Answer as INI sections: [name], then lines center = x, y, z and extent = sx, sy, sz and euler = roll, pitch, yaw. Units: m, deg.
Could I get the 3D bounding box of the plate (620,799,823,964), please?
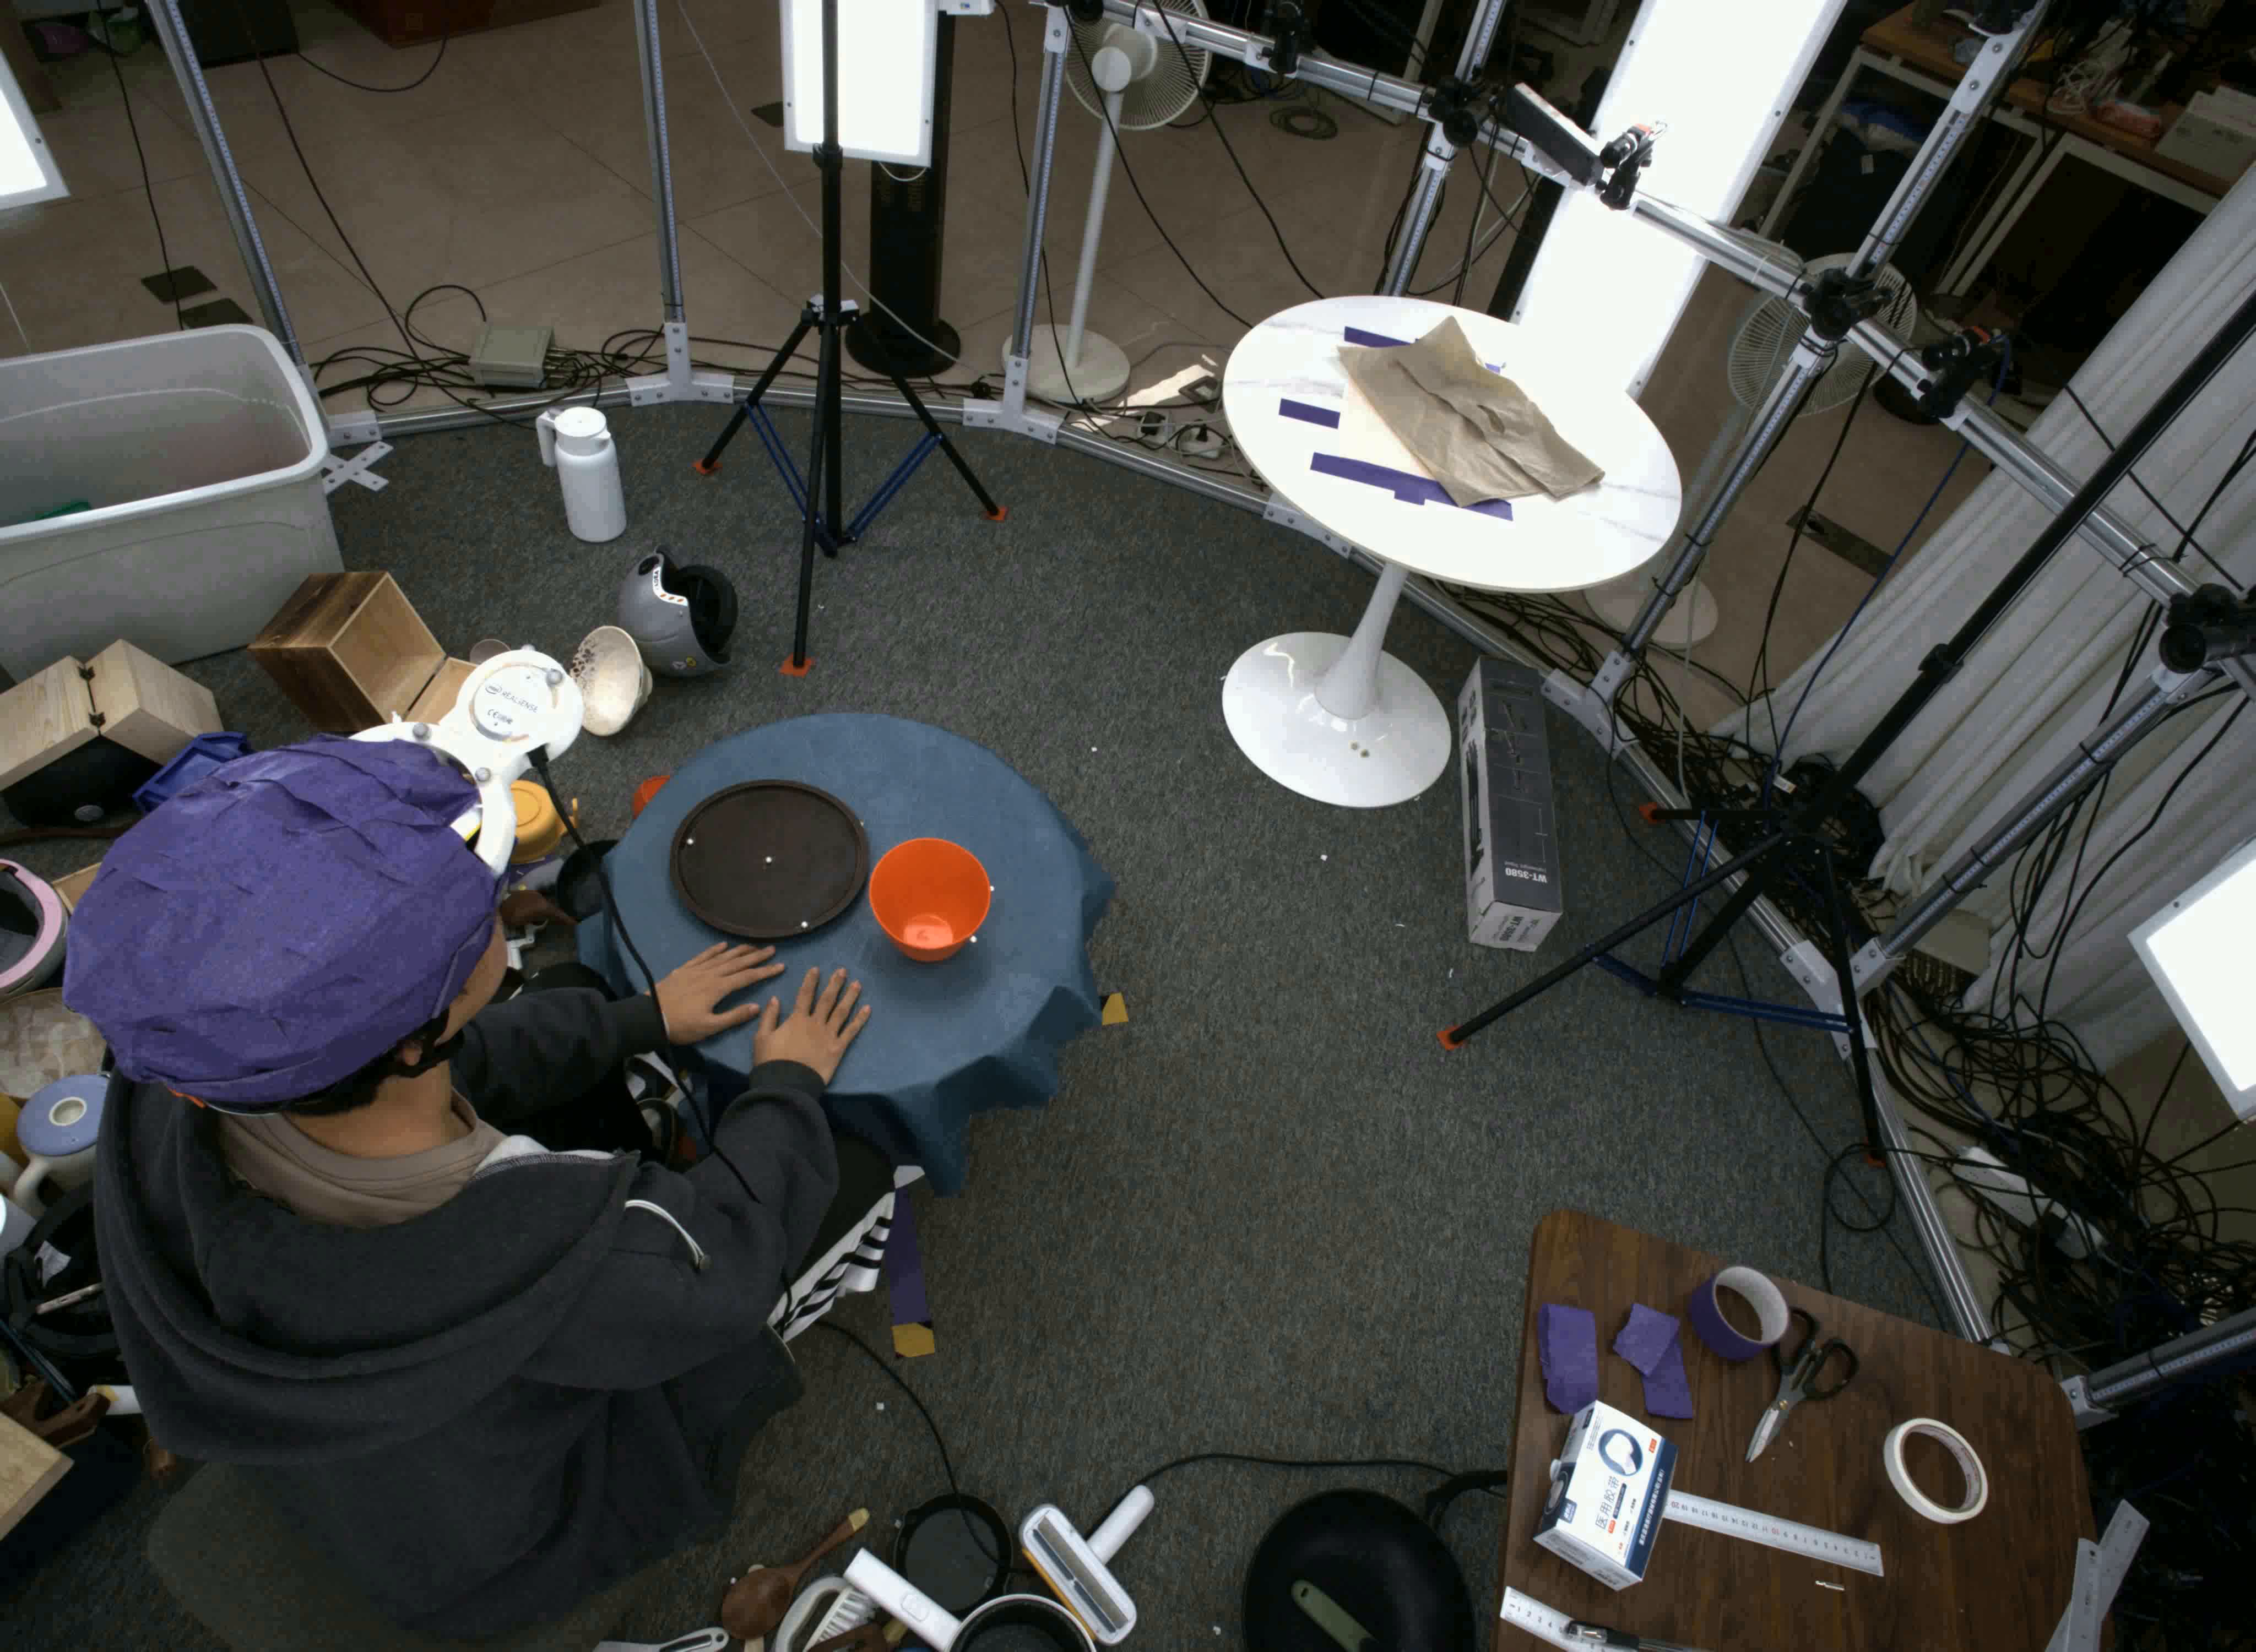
[plate]
center = -0.517, 0.066, 1.641
extent = 0.254, 0.029, 0.250
euler = 9, 53, -10

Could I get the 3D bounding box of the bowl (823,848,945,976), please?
[bowl]
center = -0.302, 0.117, 1.608
extent = 0.148, 0.107, 0.145
euler = 8, 52, -9
